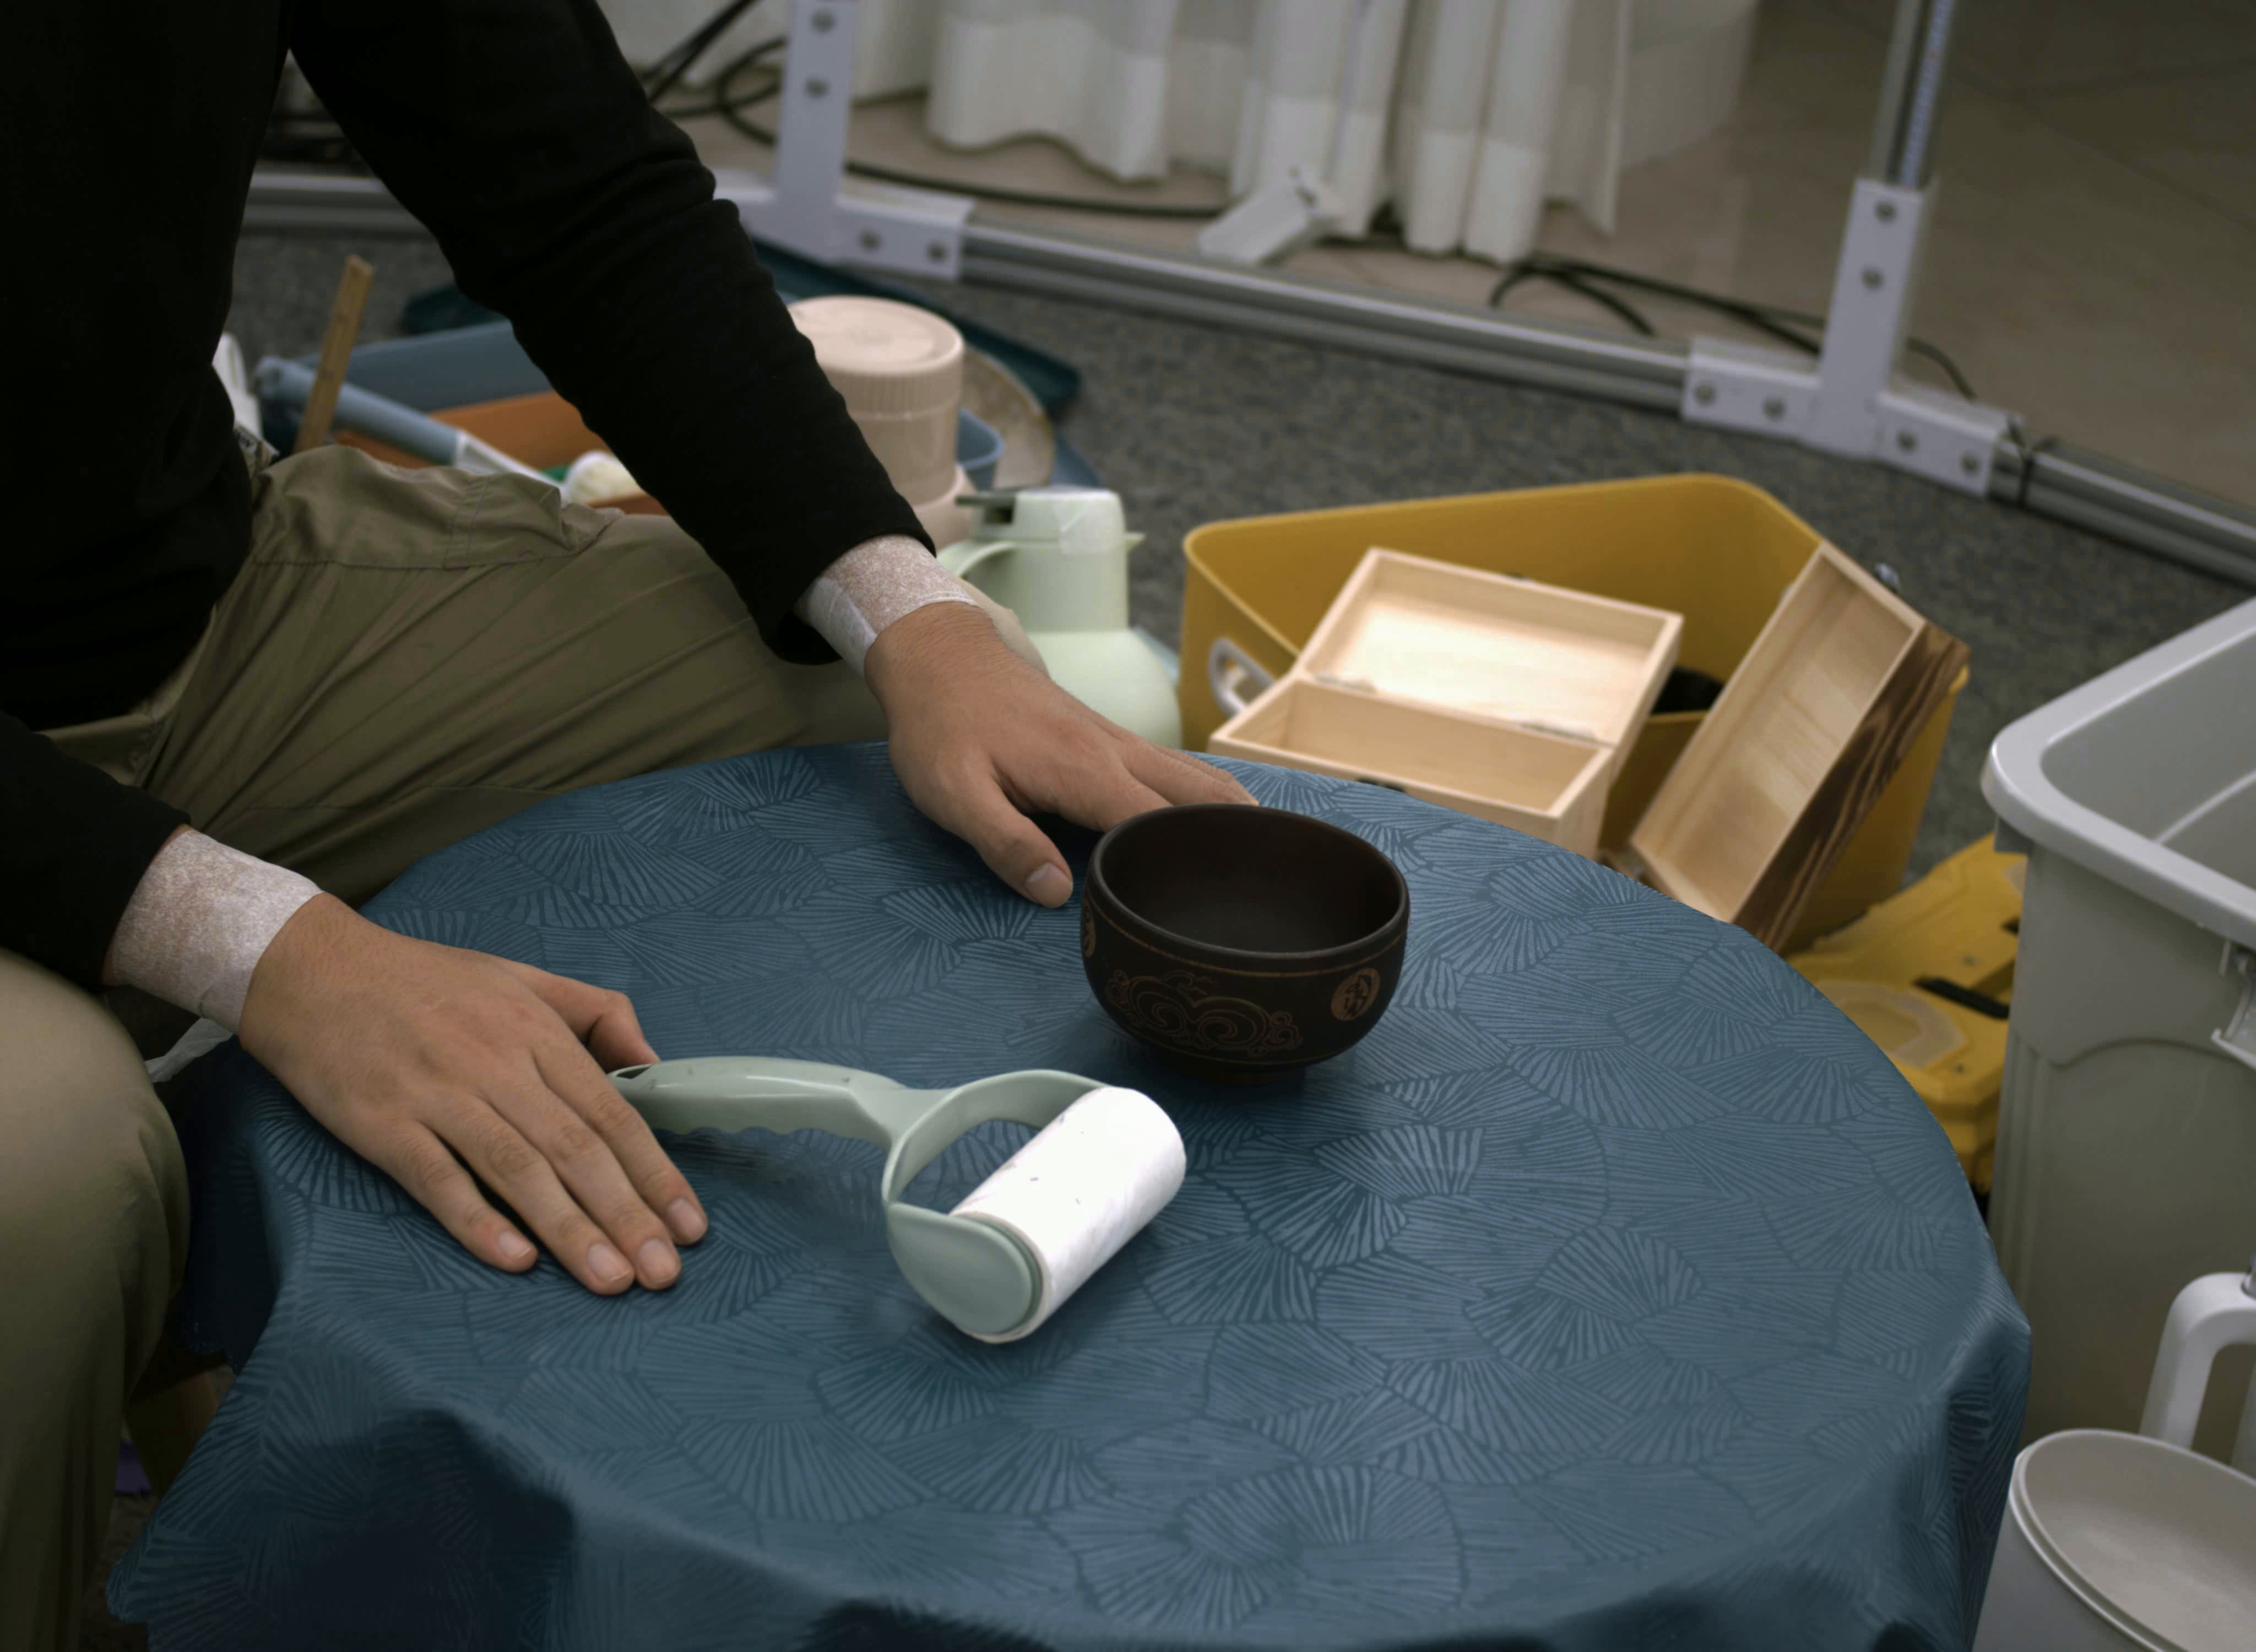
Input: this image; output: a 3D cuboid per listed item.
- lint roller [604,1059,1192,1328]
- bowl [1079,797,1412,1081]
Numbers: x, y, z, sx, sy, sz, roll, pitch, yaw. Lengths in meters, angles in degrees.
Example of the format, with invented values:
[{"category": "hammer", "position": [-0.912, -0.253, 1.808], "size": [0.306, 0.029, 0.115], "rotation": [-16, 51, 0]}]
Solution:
[{"category": "lint roller", "position": [-0.086, 0.104, 1.773], "size": [0.198, 0.048, 0.116], "rotation": [16, 29, 22]}, {"category": "bowl", "position": [0.040, 0.047, 1.882], "size": [0.117, 0.069, 0.119], "rotation": [4, 27, -2]}]
